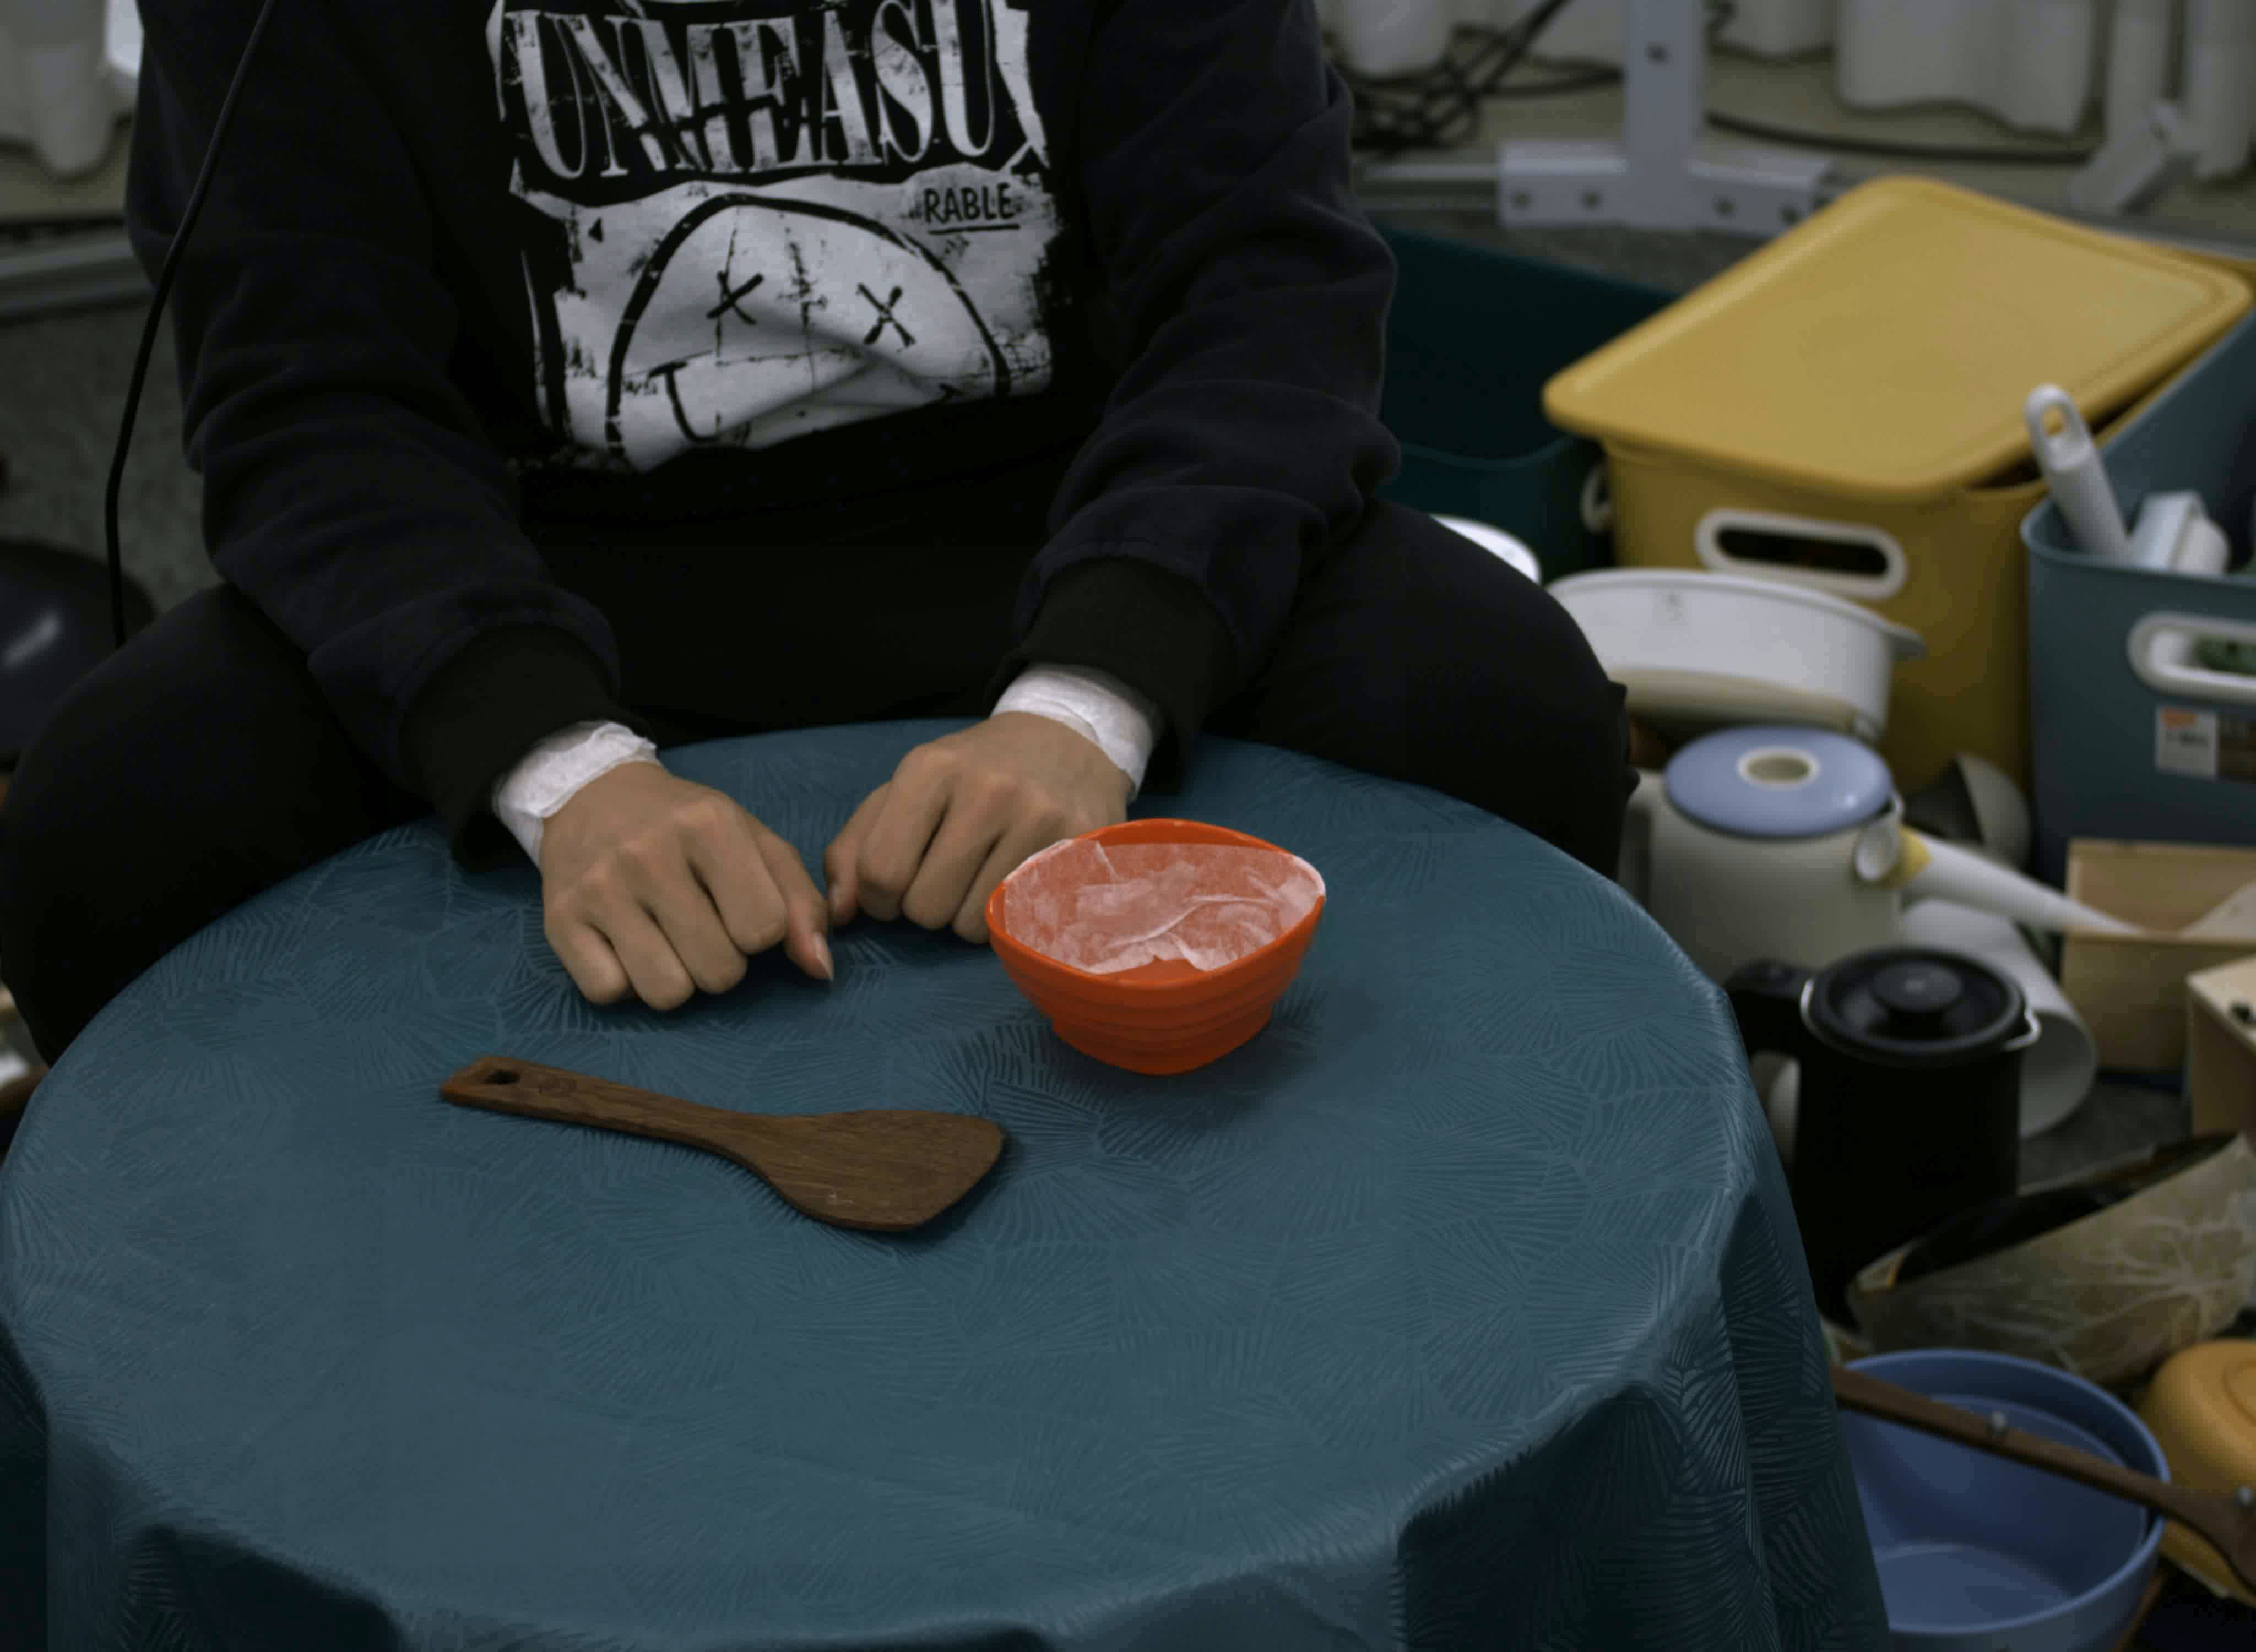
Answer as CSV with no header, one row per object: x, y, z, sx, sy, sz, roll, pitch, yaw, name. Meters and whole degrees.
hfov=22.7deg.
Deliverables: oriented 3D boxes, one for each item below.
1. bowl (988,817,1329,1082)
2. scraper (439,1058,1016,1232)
0.012,0.047,1.950,0.118,0.051,0.121,-2,29,2,bowl
-0.141,0.104,1.902,0.210,0.011,0.077,10,28,25,scraper
